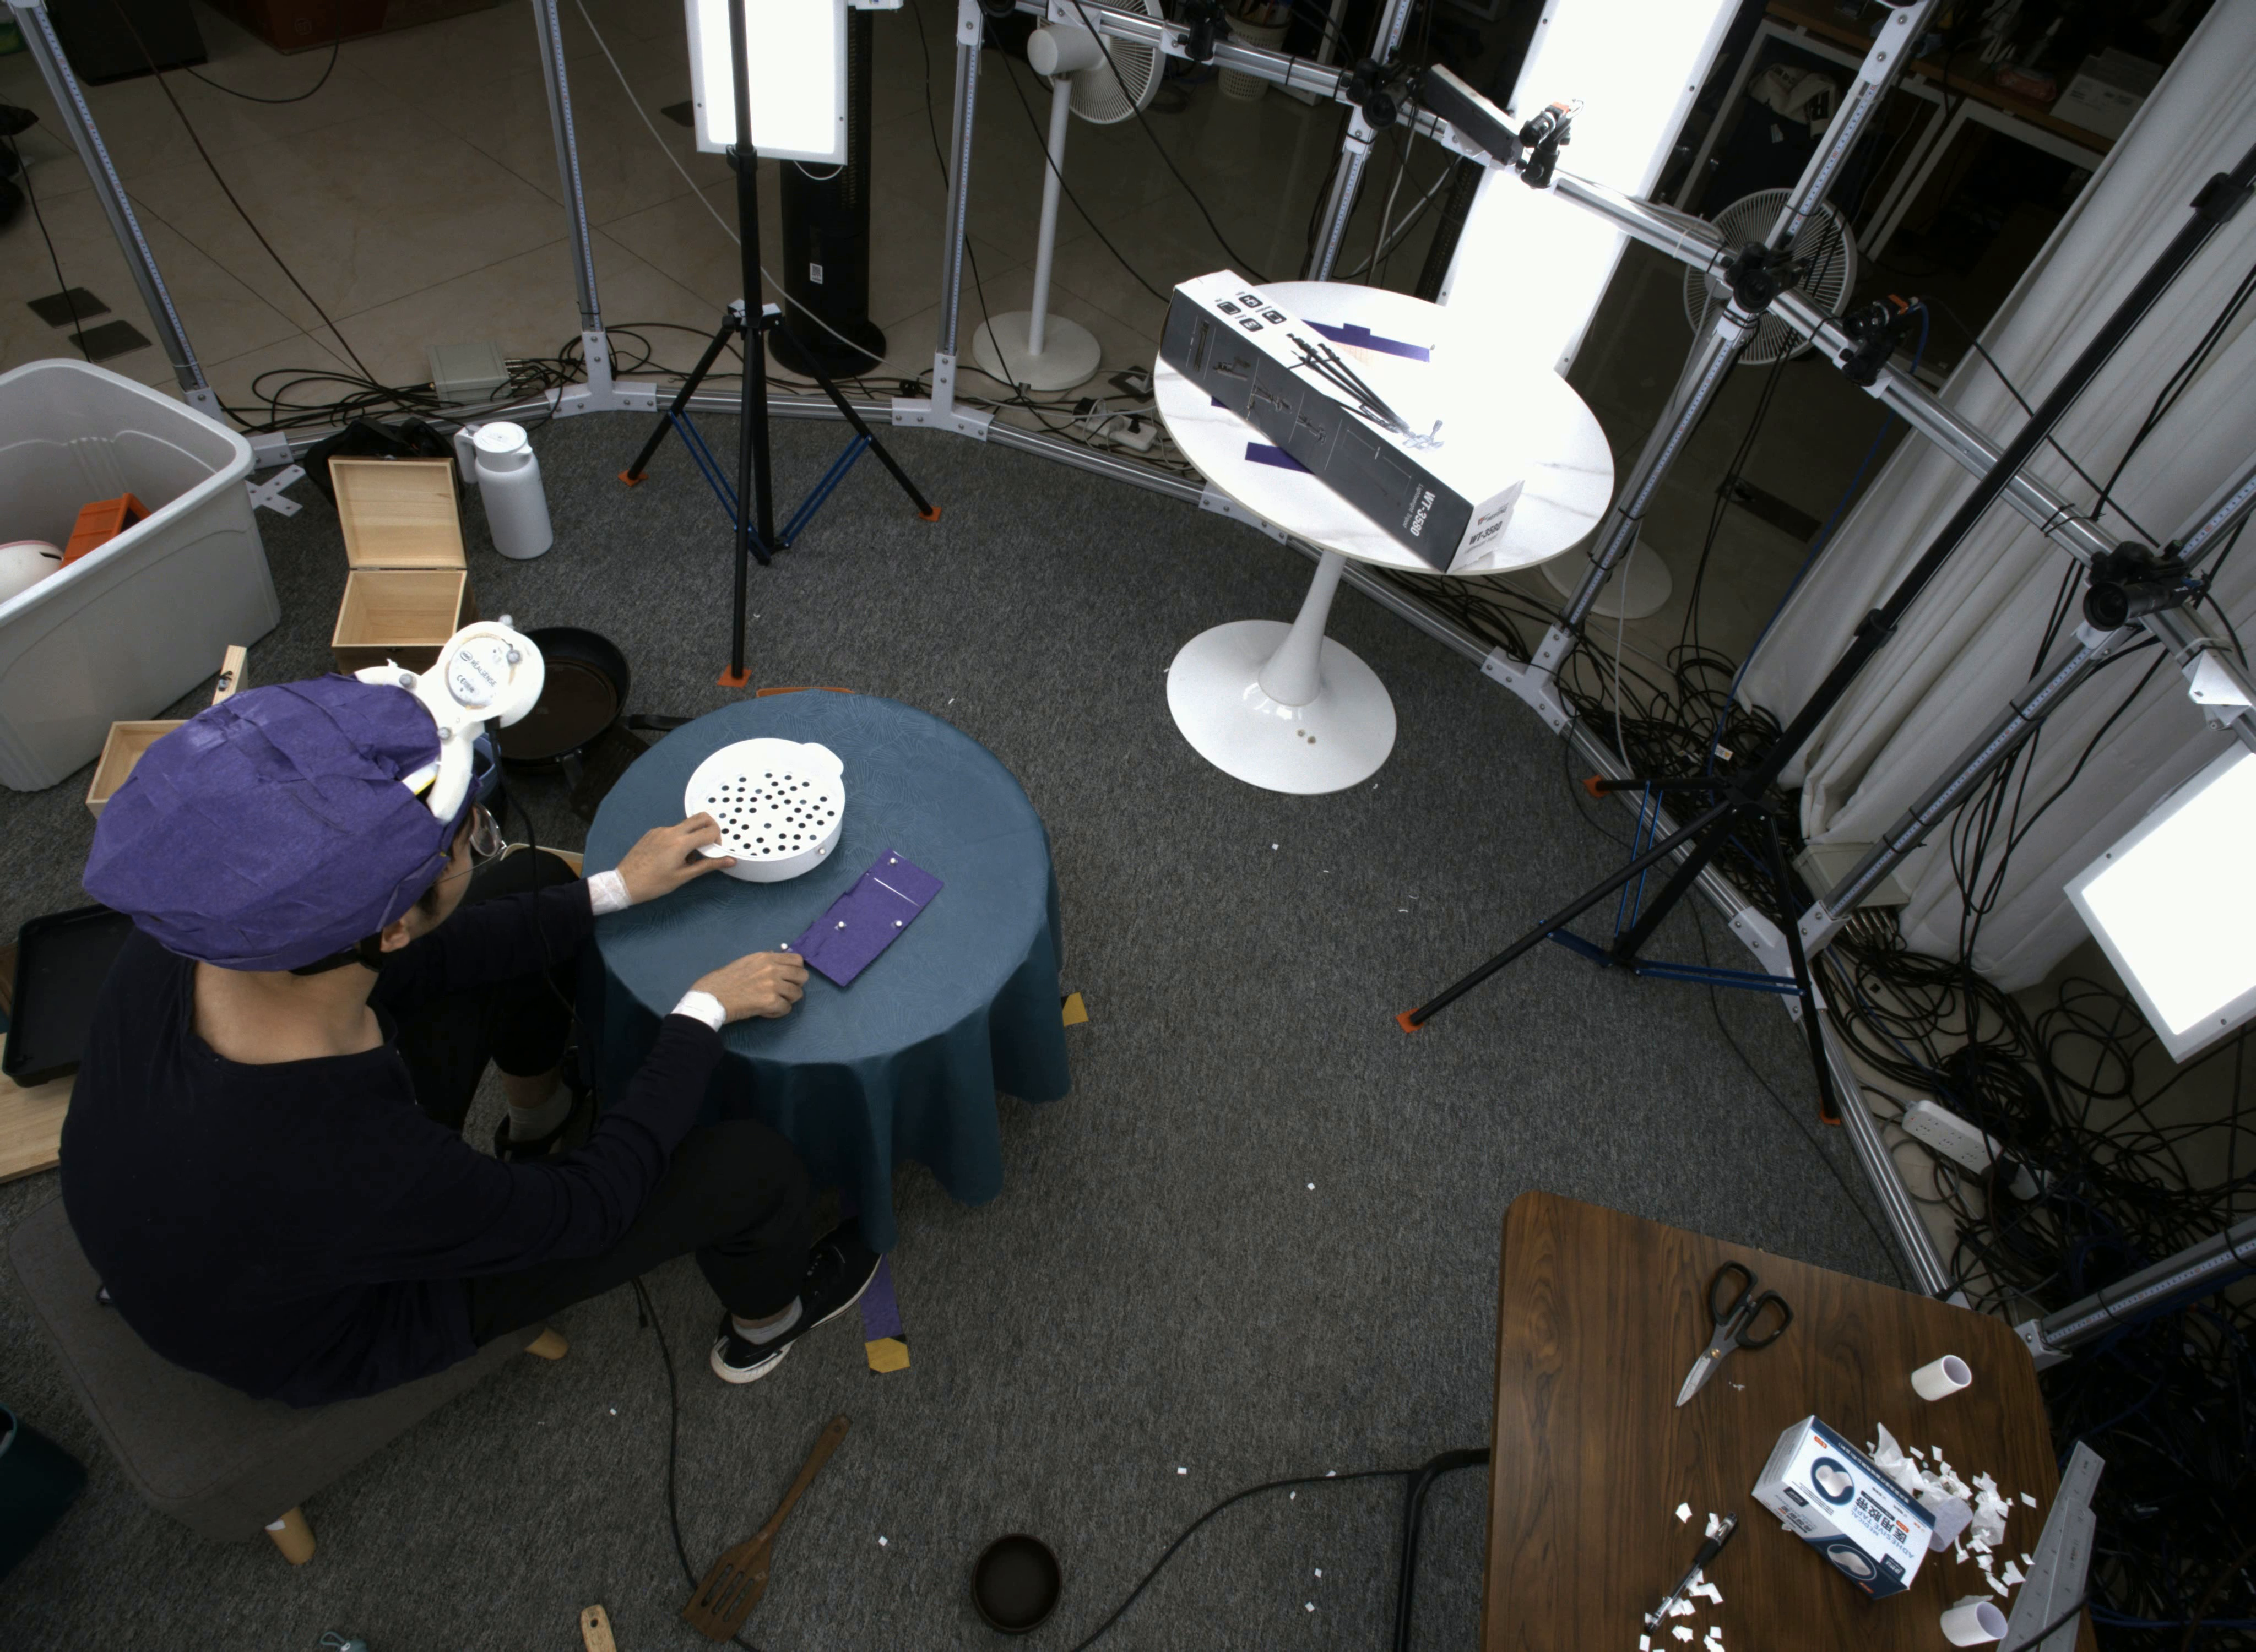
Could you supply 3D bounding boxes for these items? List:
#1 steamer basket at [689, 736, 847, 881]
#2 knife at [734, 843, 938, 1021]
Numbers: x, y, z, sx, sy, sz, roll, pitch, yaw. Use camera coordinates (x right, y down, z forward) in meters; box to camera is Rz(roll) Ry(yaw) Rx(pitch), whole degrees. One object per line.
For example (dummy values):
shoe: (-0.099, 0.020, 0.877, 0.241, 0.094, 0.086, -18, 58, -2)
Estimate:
steamer basket: (-0.468, -0.022, 1.699, 0.197, 0.071, 0.230, 37, 57, 15)
knife: (-0.358, 0.139, 1.632, 0.102, 0.033, 0.314, 32, 53, 10)
